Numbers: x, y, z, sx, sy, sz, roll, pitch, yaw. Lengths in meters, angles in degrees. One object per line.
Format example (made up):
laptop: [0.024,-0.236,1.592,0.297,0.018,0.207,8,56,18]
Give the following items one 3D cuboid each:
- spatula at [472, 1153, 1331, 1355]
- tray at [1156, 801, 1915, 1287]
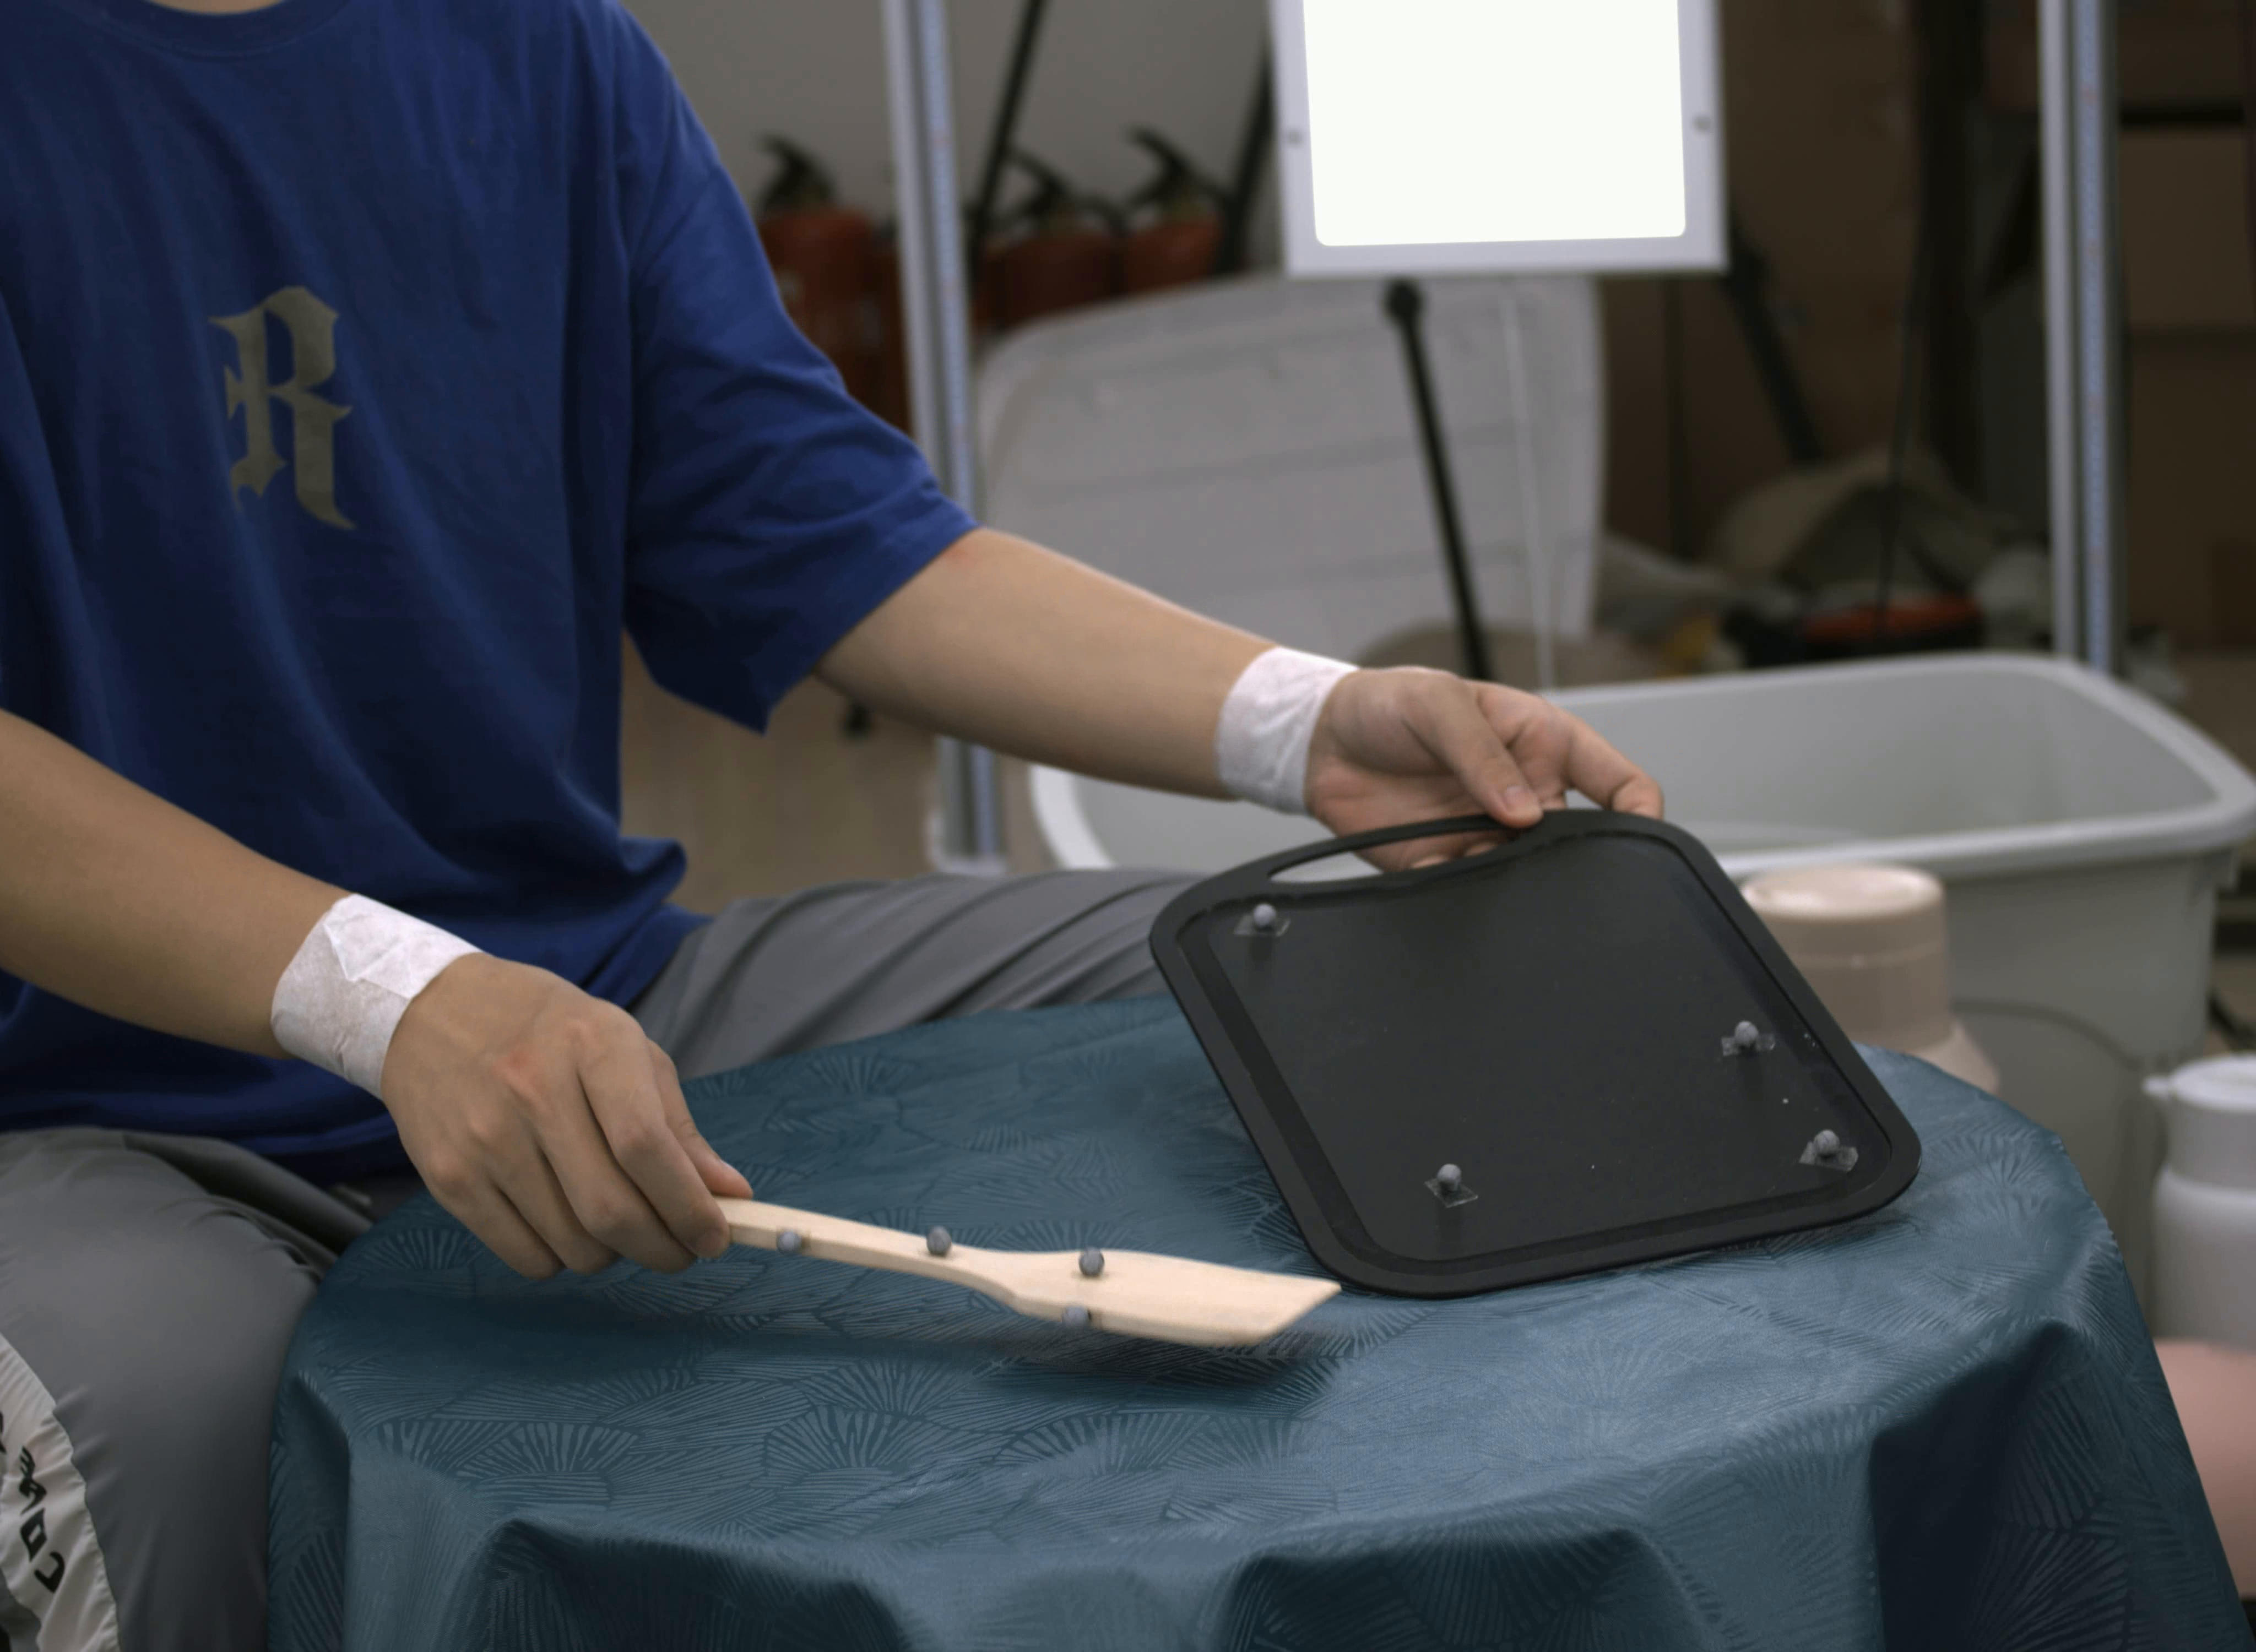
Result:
spatula: [-0.081,0.135,1.769,0.297,0.011,0.071,9,15,24]
tray: [0.133,0.066,1.908,0.209,0.010,0.327,-11,28,-8]
